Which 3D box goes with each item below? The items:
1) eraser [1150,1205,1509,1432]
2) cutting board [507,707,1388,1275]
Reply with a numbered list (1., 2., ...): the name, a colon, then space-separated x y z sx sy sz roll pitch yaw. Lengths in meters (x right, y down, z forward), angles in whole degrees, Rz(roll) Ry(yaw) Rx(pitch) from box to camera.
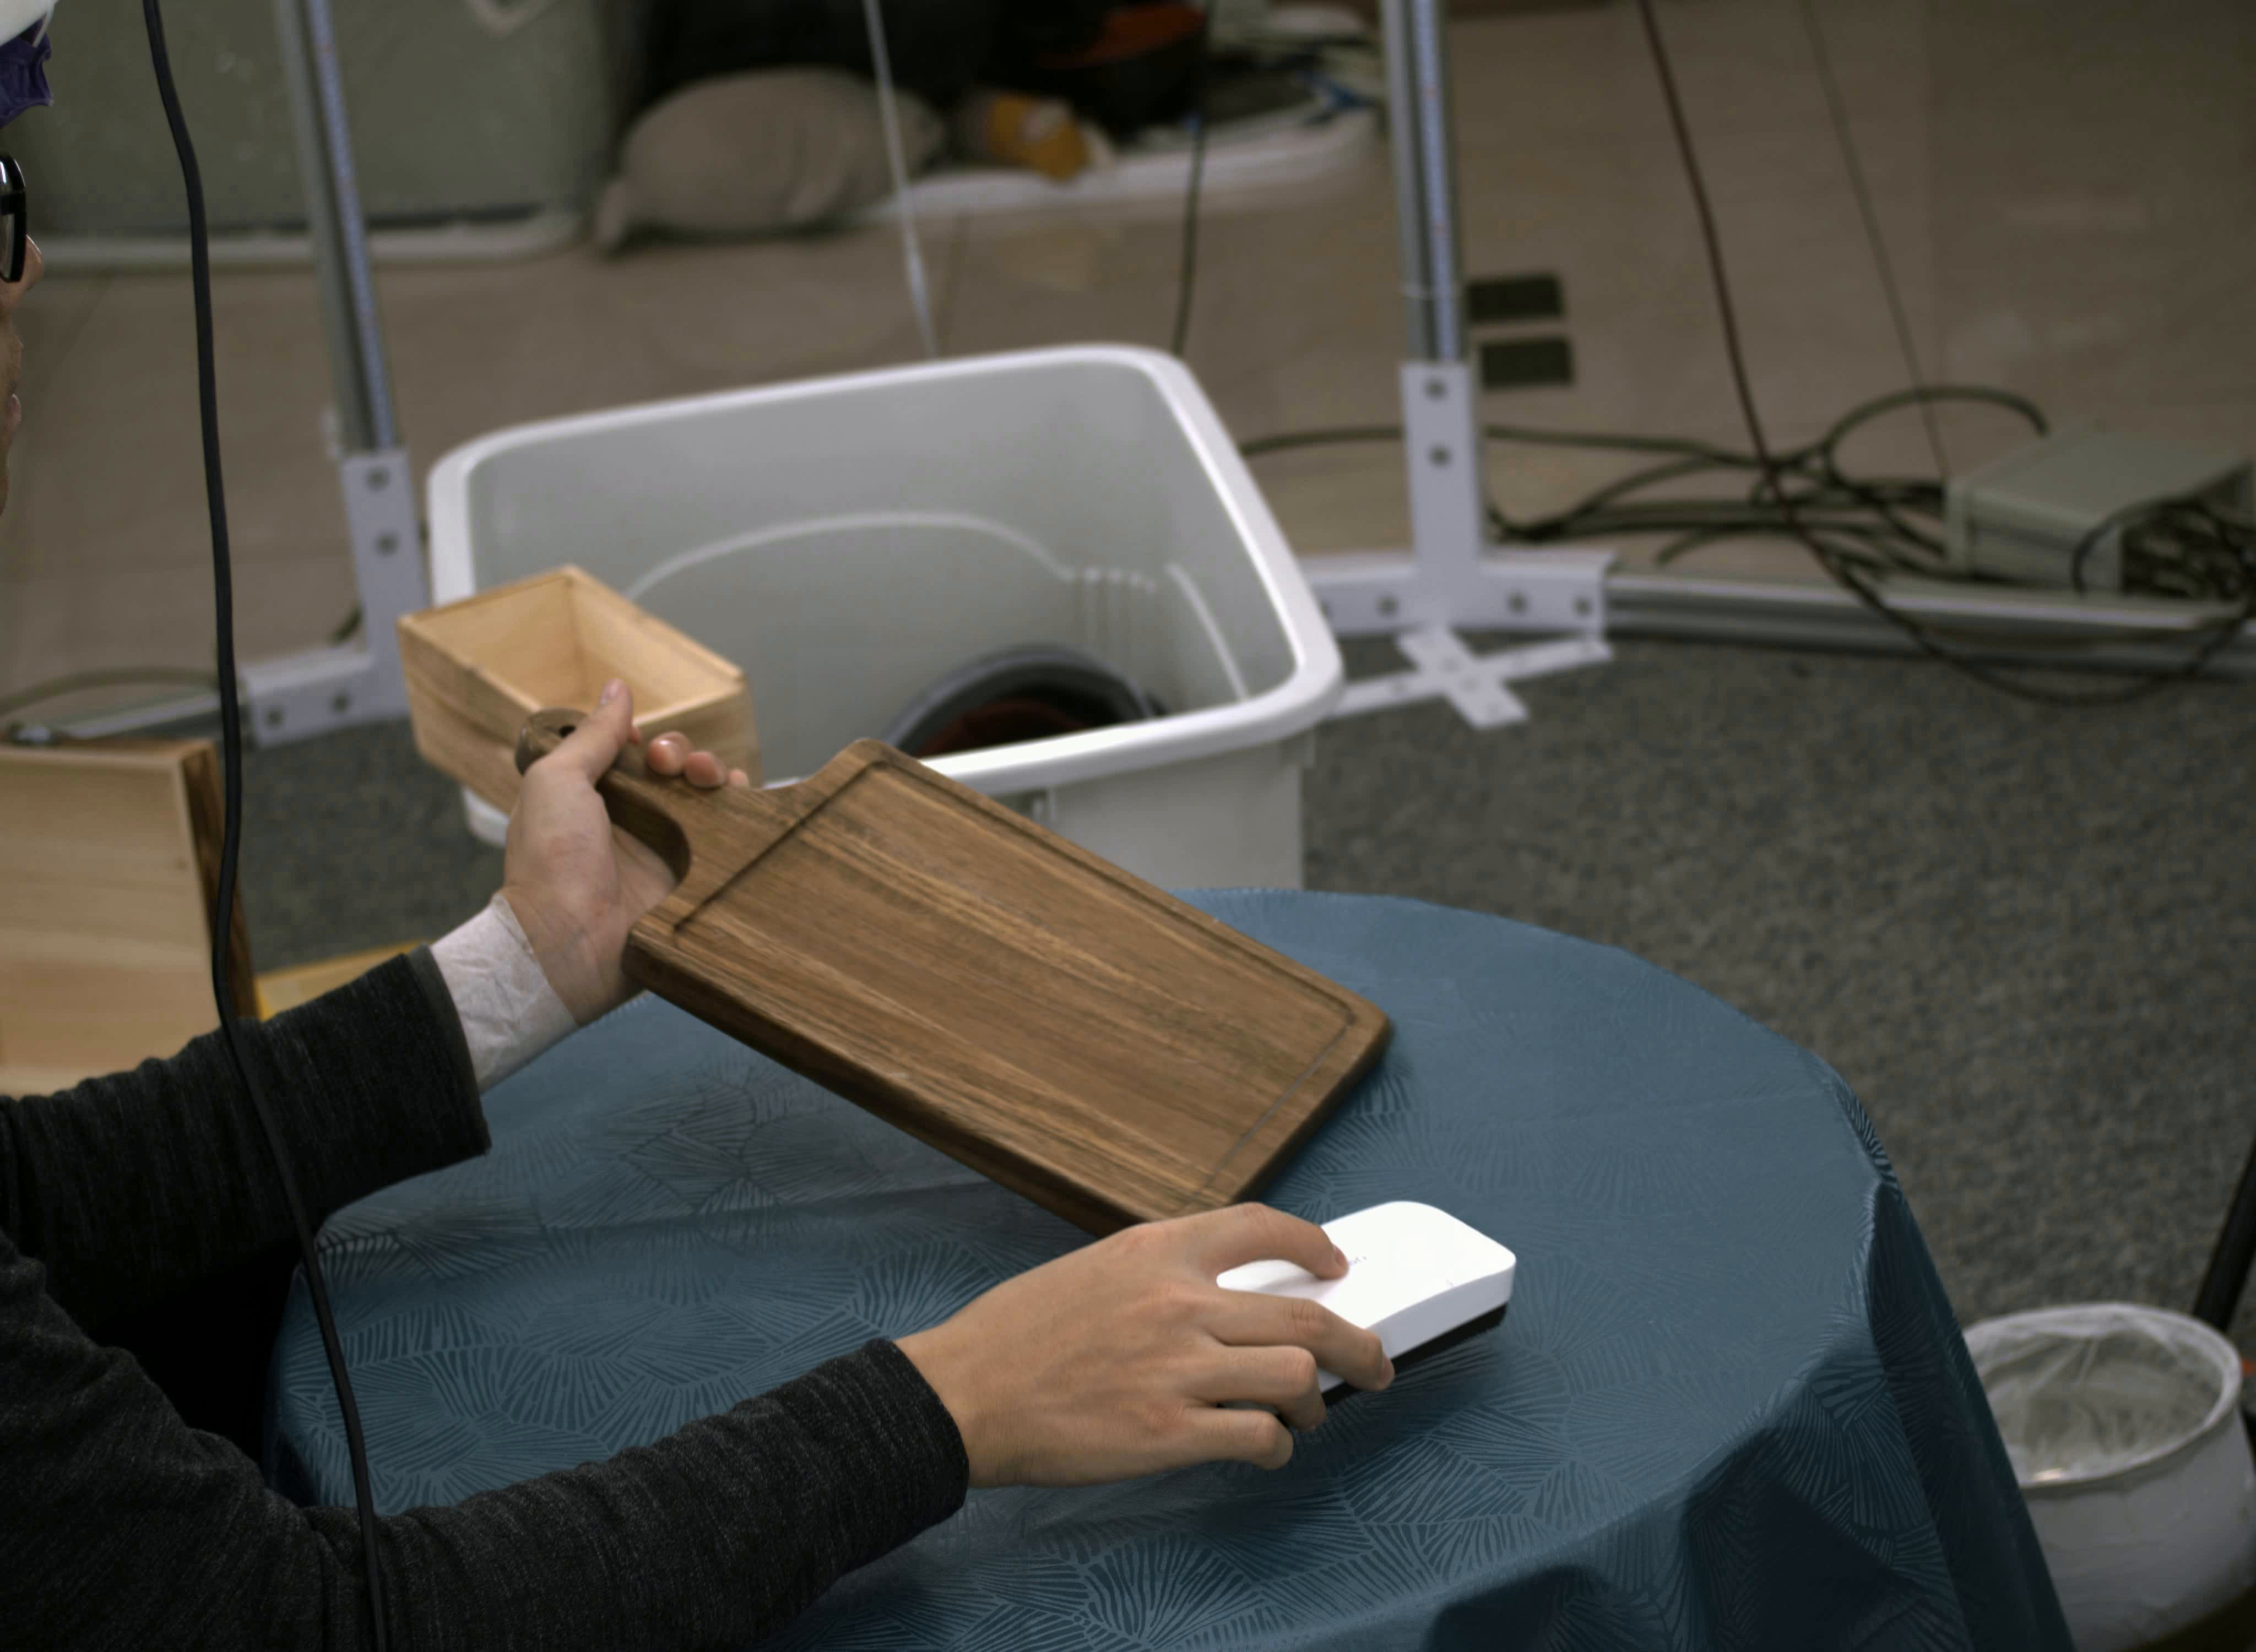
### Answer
1. eraser: 0.070 0.168 1.982 0.130 0.035 0.063 -20 35 -34
2. cutting board: -0.087 0.042 2.187 0.350 0.023 0.198 28 35 12
